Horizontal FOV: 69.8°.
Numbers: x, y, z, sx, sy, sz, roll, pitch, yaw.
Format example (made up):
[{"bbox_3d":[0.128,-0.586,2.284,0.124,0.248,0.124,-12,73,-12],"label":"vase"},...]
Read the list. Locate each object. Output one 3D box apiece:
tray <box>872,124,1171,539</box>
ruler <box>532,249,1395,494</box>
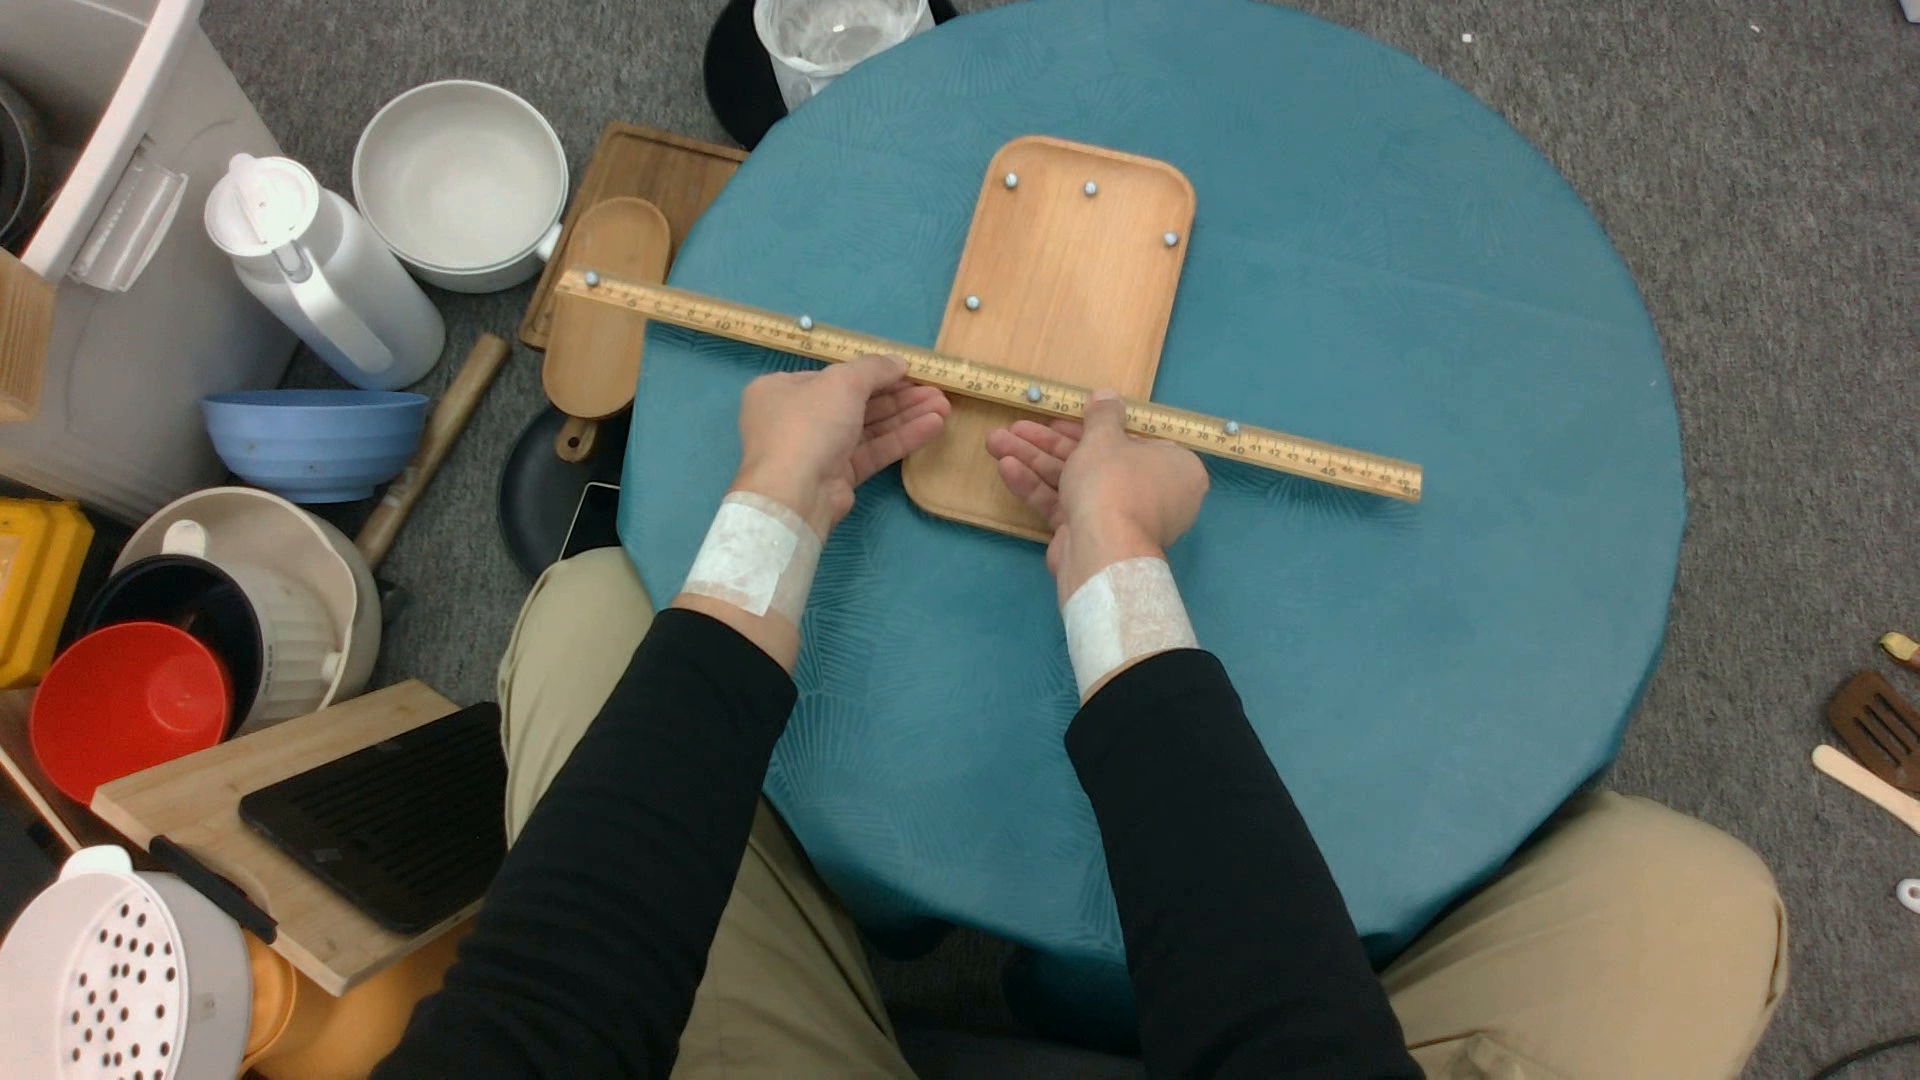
[{"bbox_3d":[0.039,-0.125,0.798,0.130,0.023,0.251,14,74,7],"label":"tray"},{"bbox_3d":[-0.004,-0.097,0.775,0.500,0.006,0.027,15,53,5],"label":"ruler"}]
